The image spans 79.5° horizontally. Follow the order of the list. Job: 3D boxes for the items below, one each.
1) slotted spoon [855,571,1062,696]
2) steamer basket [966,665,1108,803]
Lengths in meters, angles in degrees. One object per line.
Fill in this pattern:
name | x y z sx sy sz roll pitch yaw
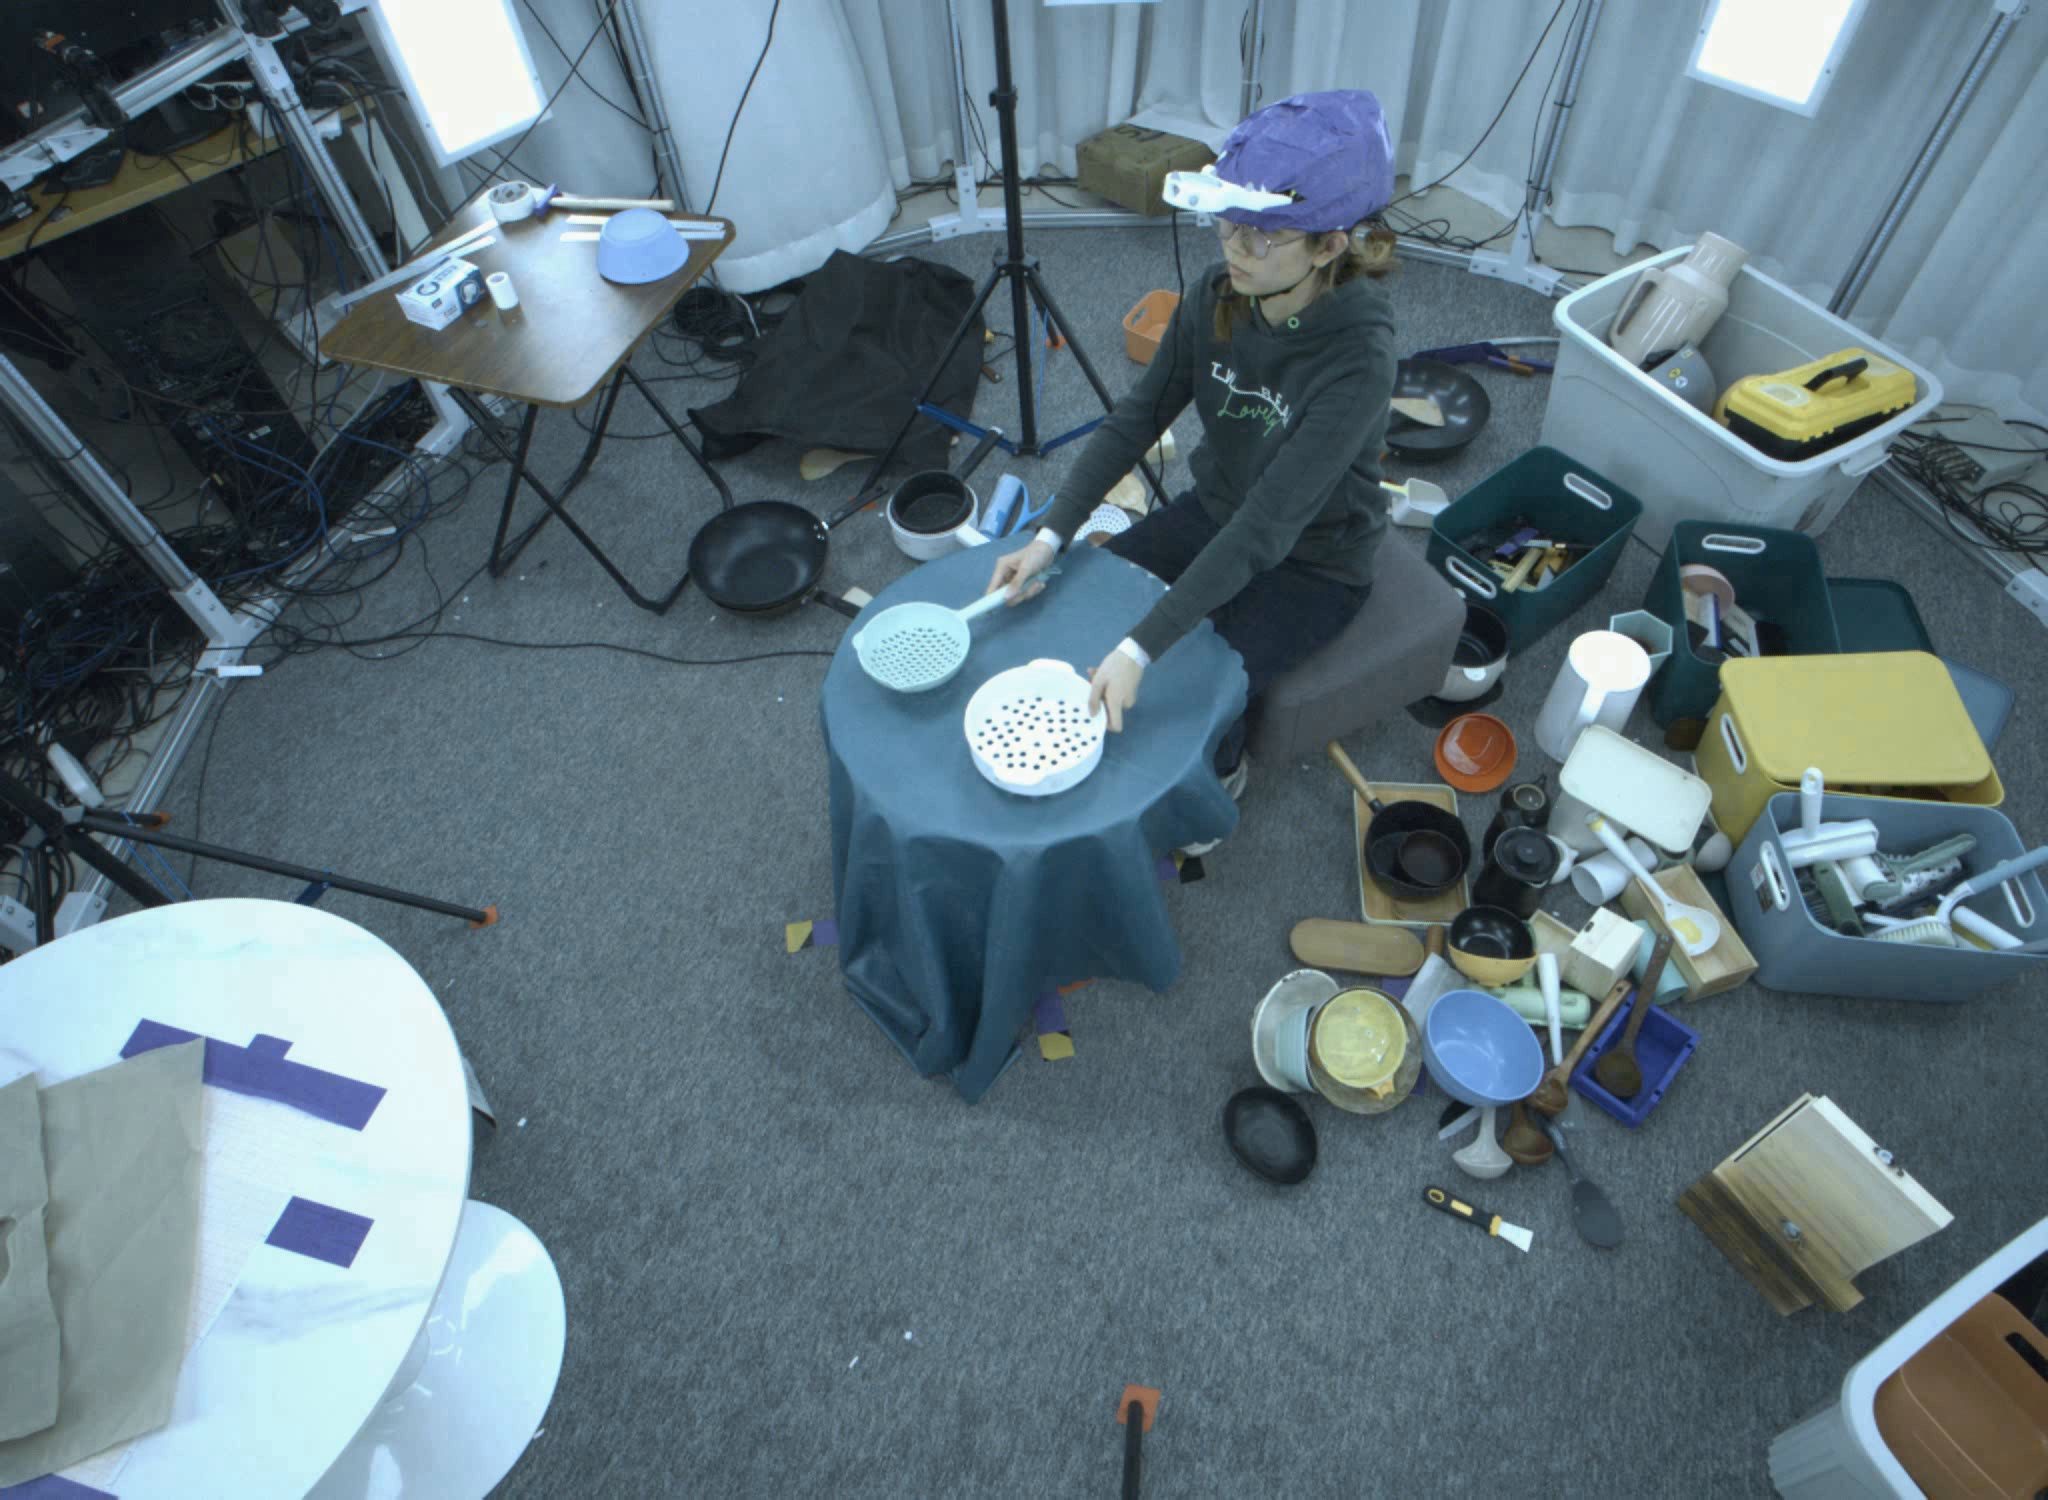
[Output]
slotted spoon | -0.086 -0.198 1.889 0.361 0.076 0.166 -37 61 -16
steamer basket | 0.020 -0.017 1.767 0.201 0.070 0.229 10 54 8
